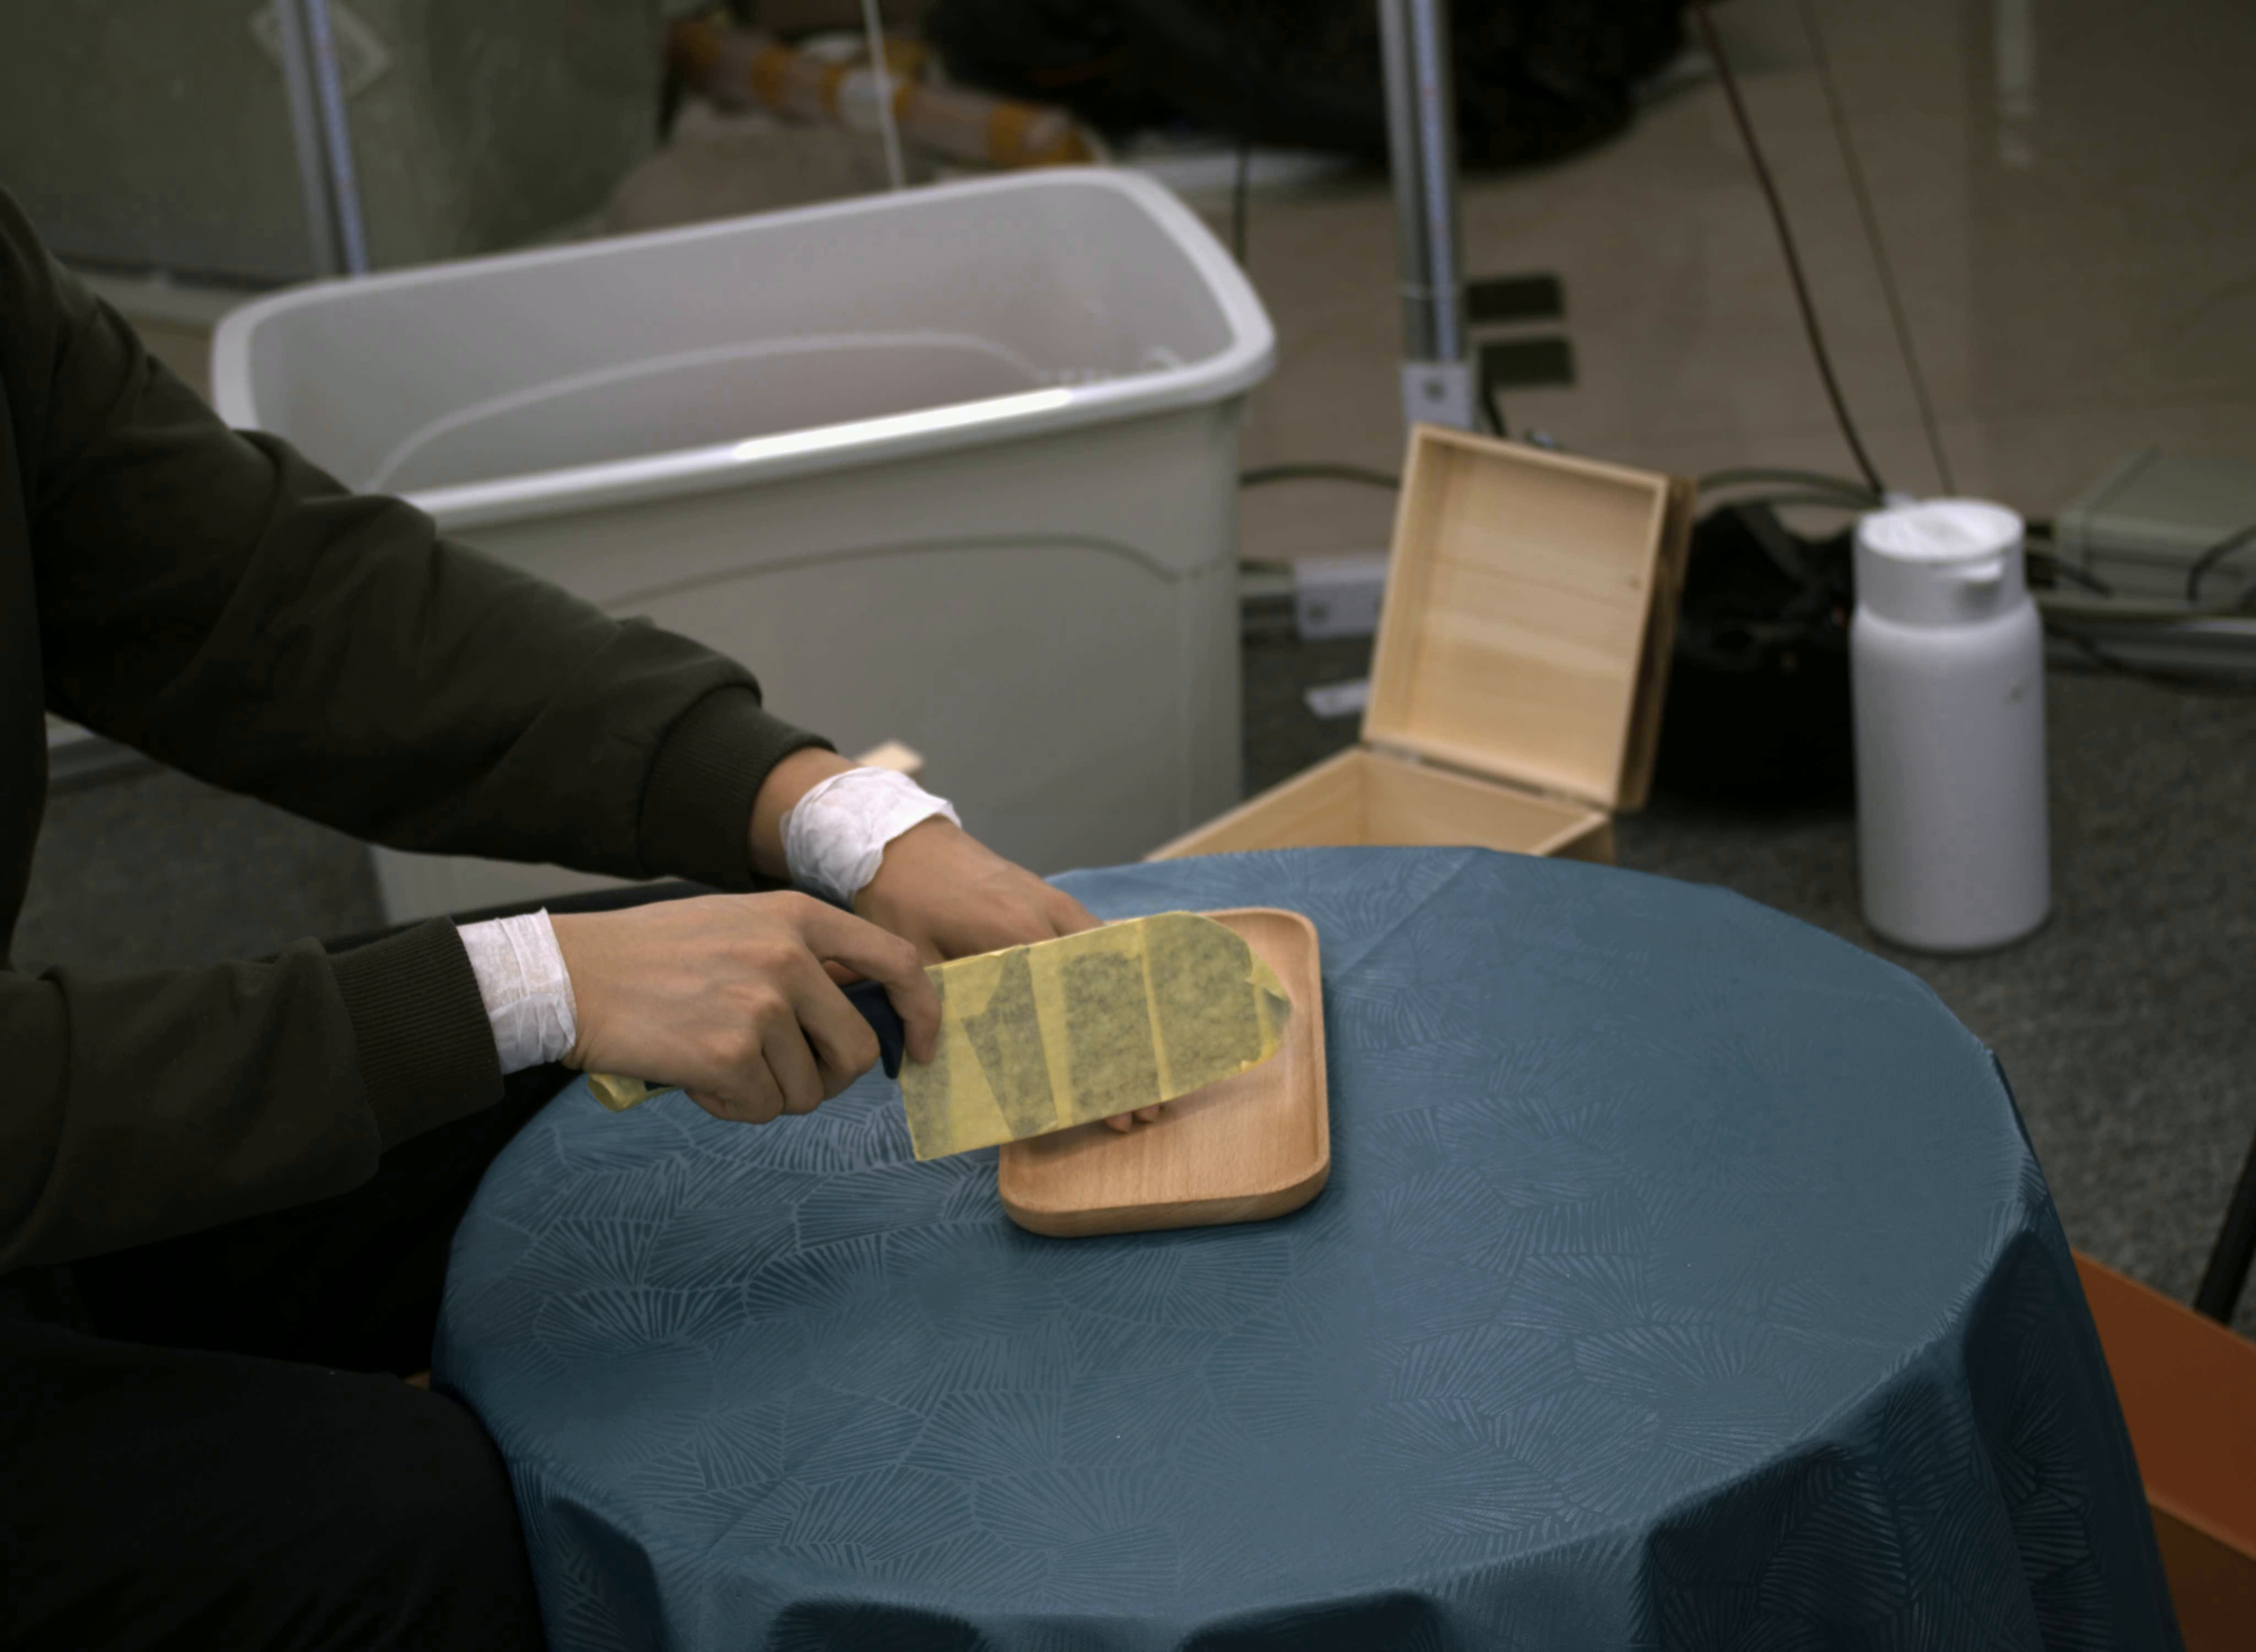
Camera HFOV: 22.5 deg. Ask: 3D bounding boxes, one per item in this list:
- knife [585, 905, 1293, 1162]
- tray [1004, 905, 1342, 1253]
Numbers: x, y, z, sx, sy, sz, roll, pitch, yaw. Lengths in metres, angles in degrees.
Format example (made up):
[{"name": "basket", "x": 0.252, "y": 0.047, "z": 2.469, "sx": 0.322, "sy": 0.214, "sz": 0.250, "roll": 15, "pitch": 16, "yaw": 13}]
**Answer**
[{"name": "knife", "x": -0.066, "y": 0.085, "z": 2.140, "sx": 0.288, "sy": 0.081, "sz": 0.027, "roll": -9, "pitch": 7, "yaw": -23}, {"name": "tray", "x": 0.017, "y": 0.097, "z": 2.225, "sx": 0.130, "sy": 0.023, "sz": 0.247, "roll": -8, "pitch": 27, "yaw": 4}]
